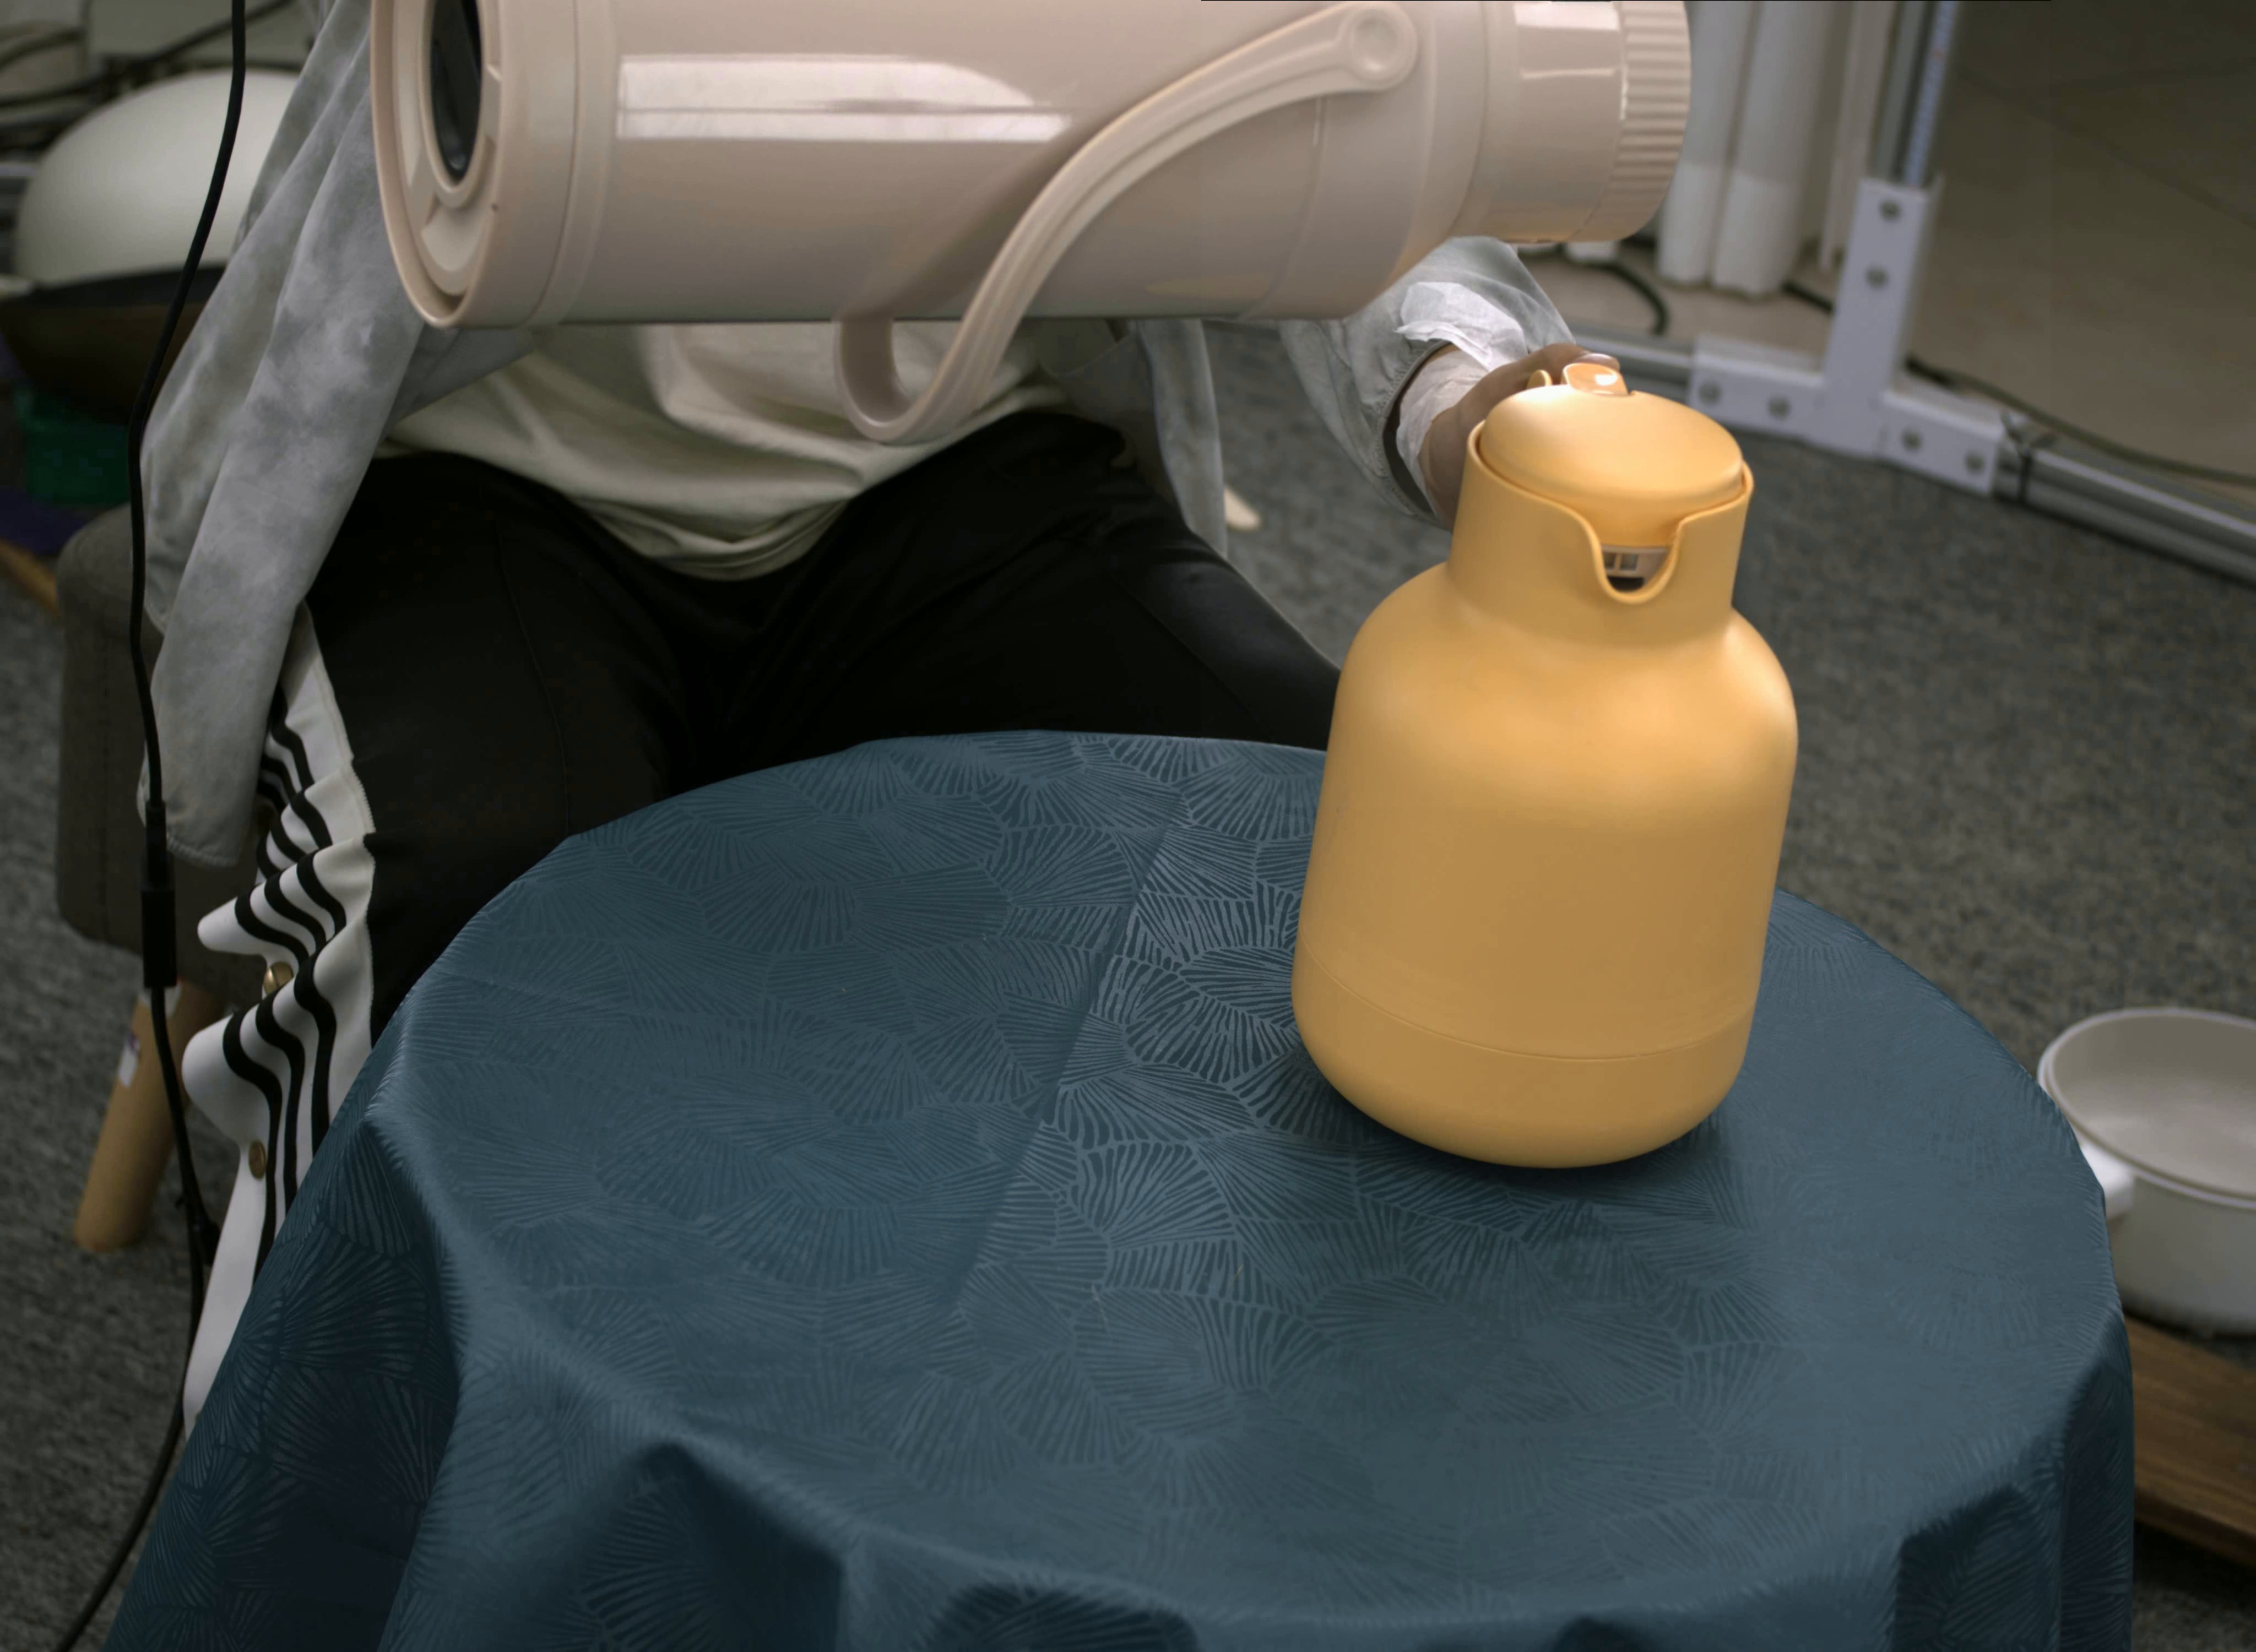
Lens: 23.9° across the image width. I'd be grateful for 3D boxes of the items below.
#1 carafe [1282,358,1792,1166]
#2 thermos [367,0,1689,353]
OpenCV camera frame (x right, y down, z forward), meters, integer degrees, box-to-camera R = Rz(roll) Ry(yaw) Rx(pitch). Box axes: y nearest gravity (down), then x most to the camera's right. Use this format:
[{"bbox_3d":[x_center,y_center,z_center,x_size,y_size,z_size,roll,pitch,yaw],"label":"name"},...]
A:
[{"bbox_3d":[0.148,-0.031,1.856,0.163,0.259,0.203,7,27,-4],"label":"carafe"},{"bbox_3d":[-0.028,-0.252,1.675,0.404,0.207,0.176,-2,1,-20],"label":"thermos"}]
